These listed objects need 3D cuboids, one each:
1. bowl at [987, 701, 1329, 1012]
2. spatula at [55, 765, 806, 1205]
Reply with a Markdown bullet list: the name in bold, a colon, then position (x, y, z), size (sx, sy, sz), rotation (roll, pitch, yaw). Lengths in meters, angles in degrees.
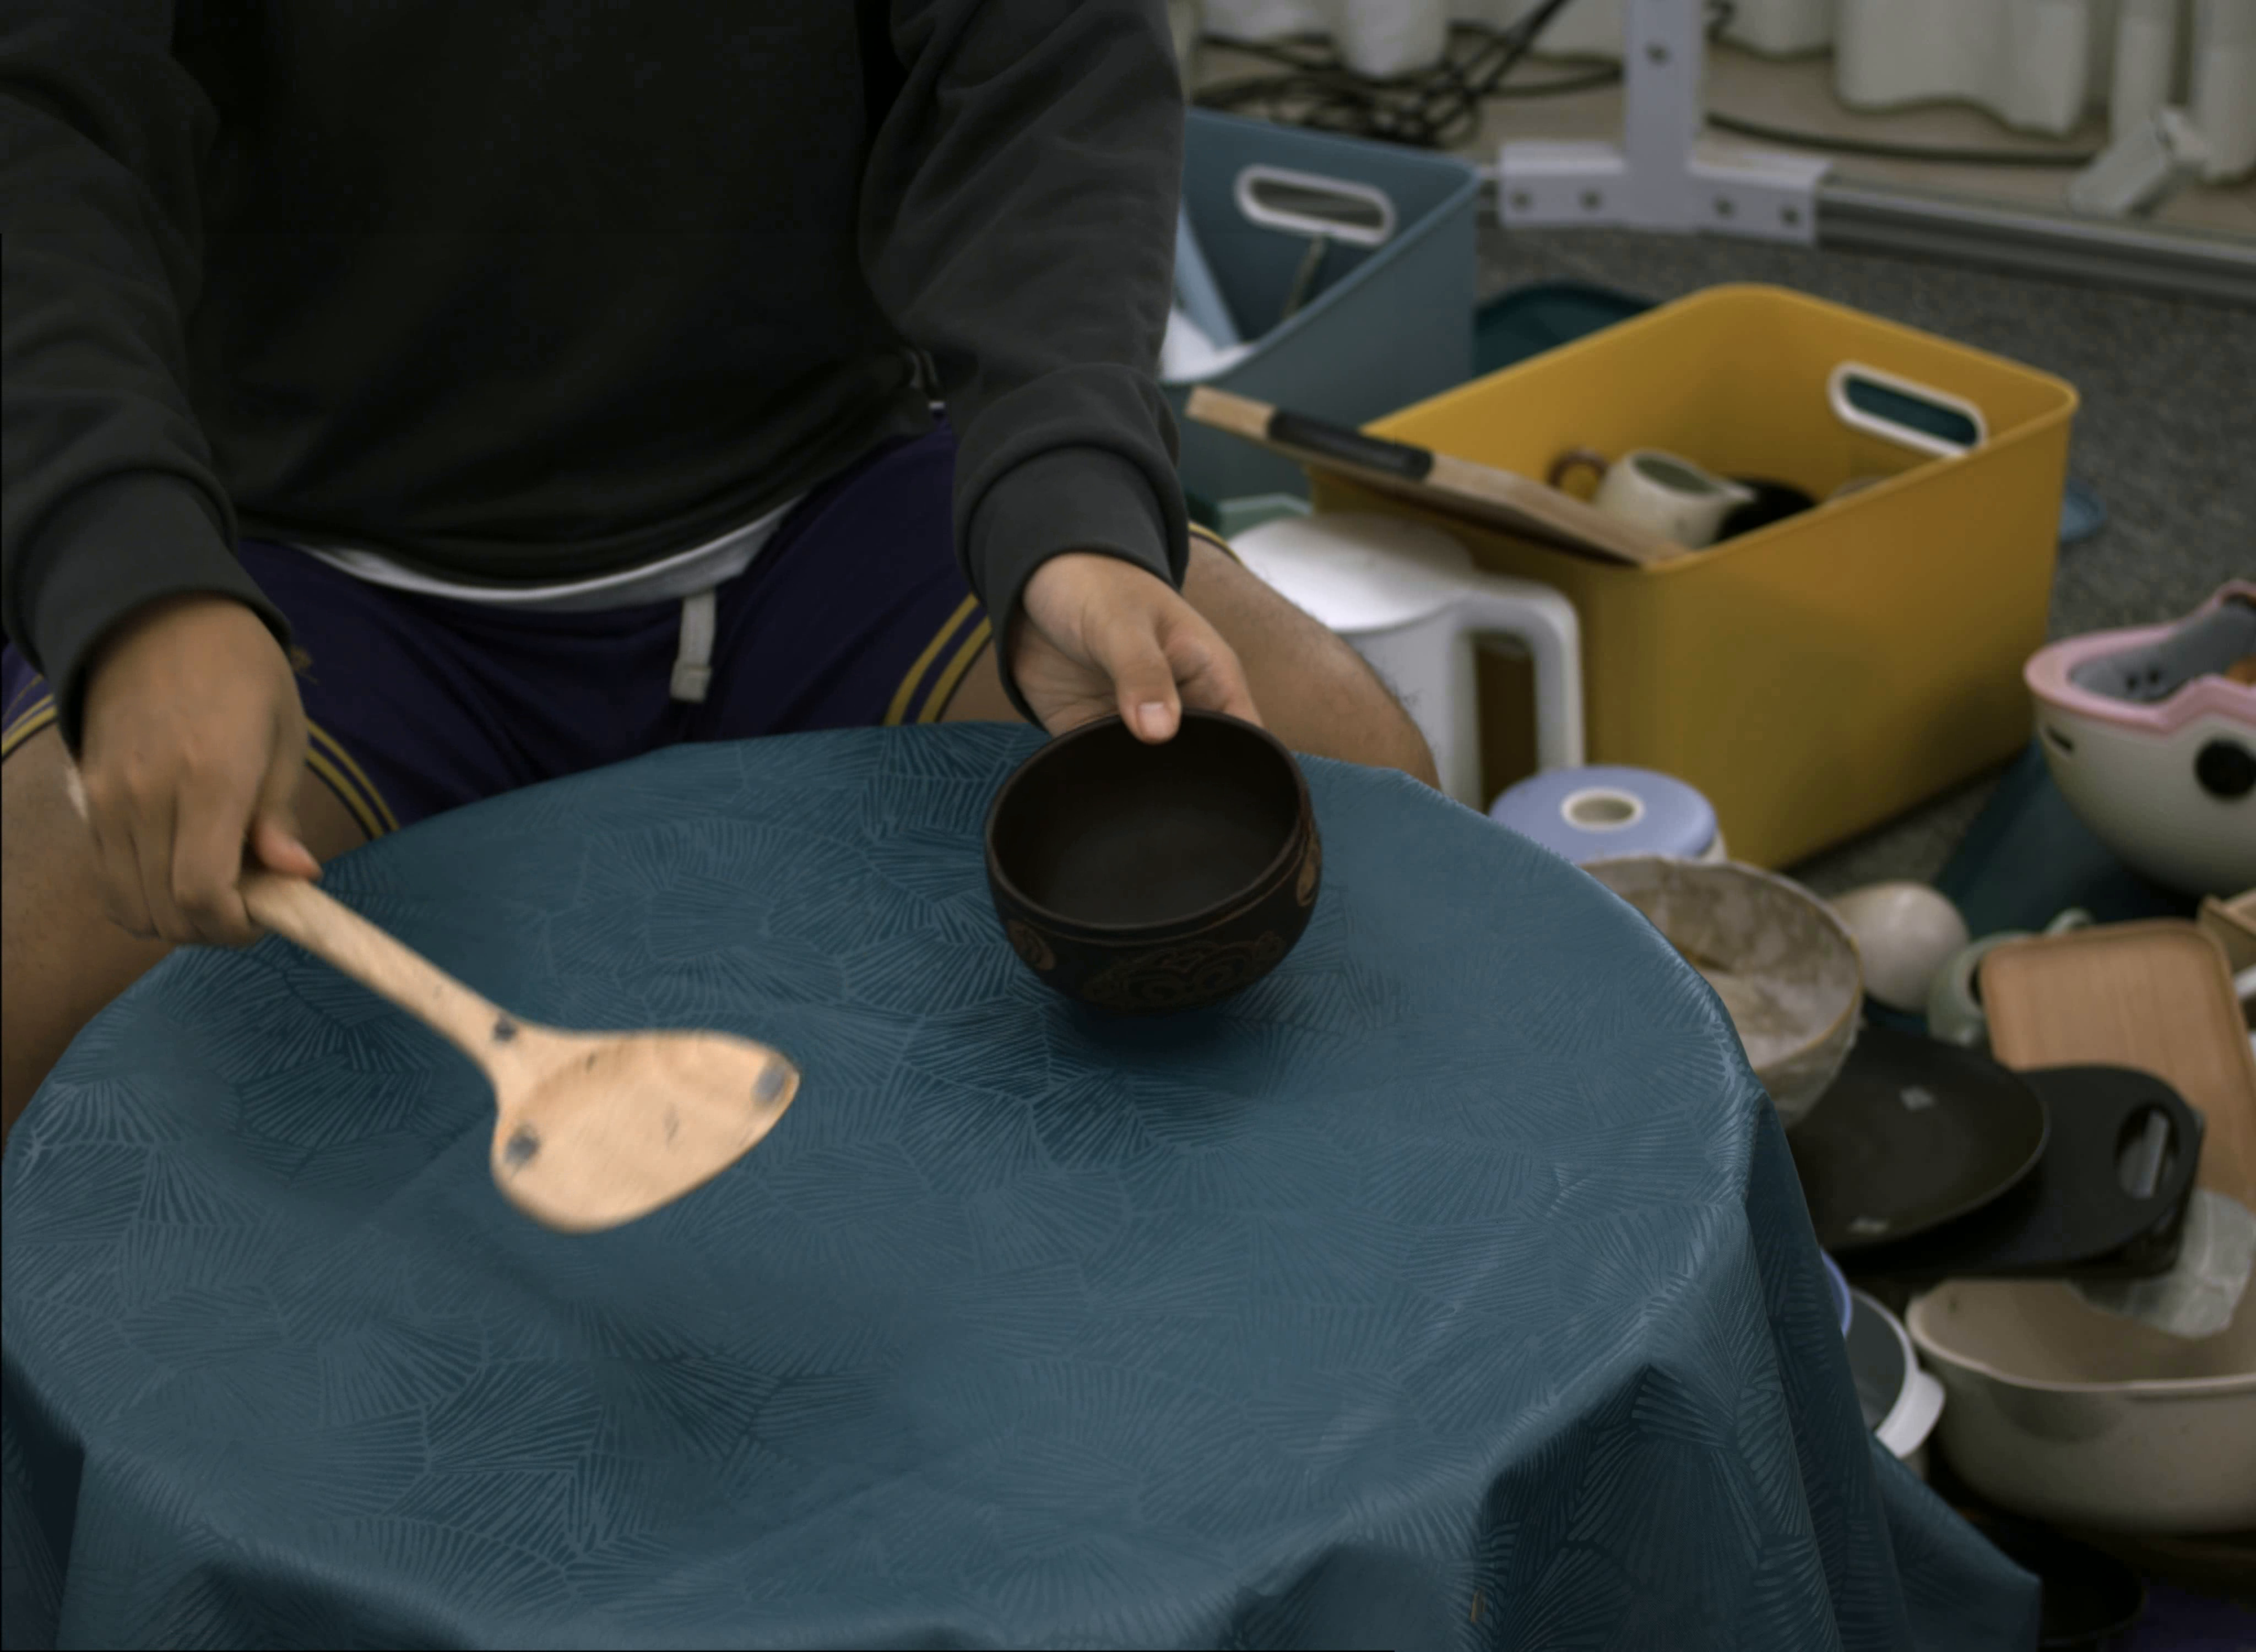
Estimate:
- **bowl**: position (0.013, 0.019, 1.959), size (0.117, 0.069, 0.120), rotation (-6, 40, 6)
- **spatula**: position (-0.248, 0.043, 1.835), size (0.097, 0.018, 0.390), rotation (-31, 37, -31)
